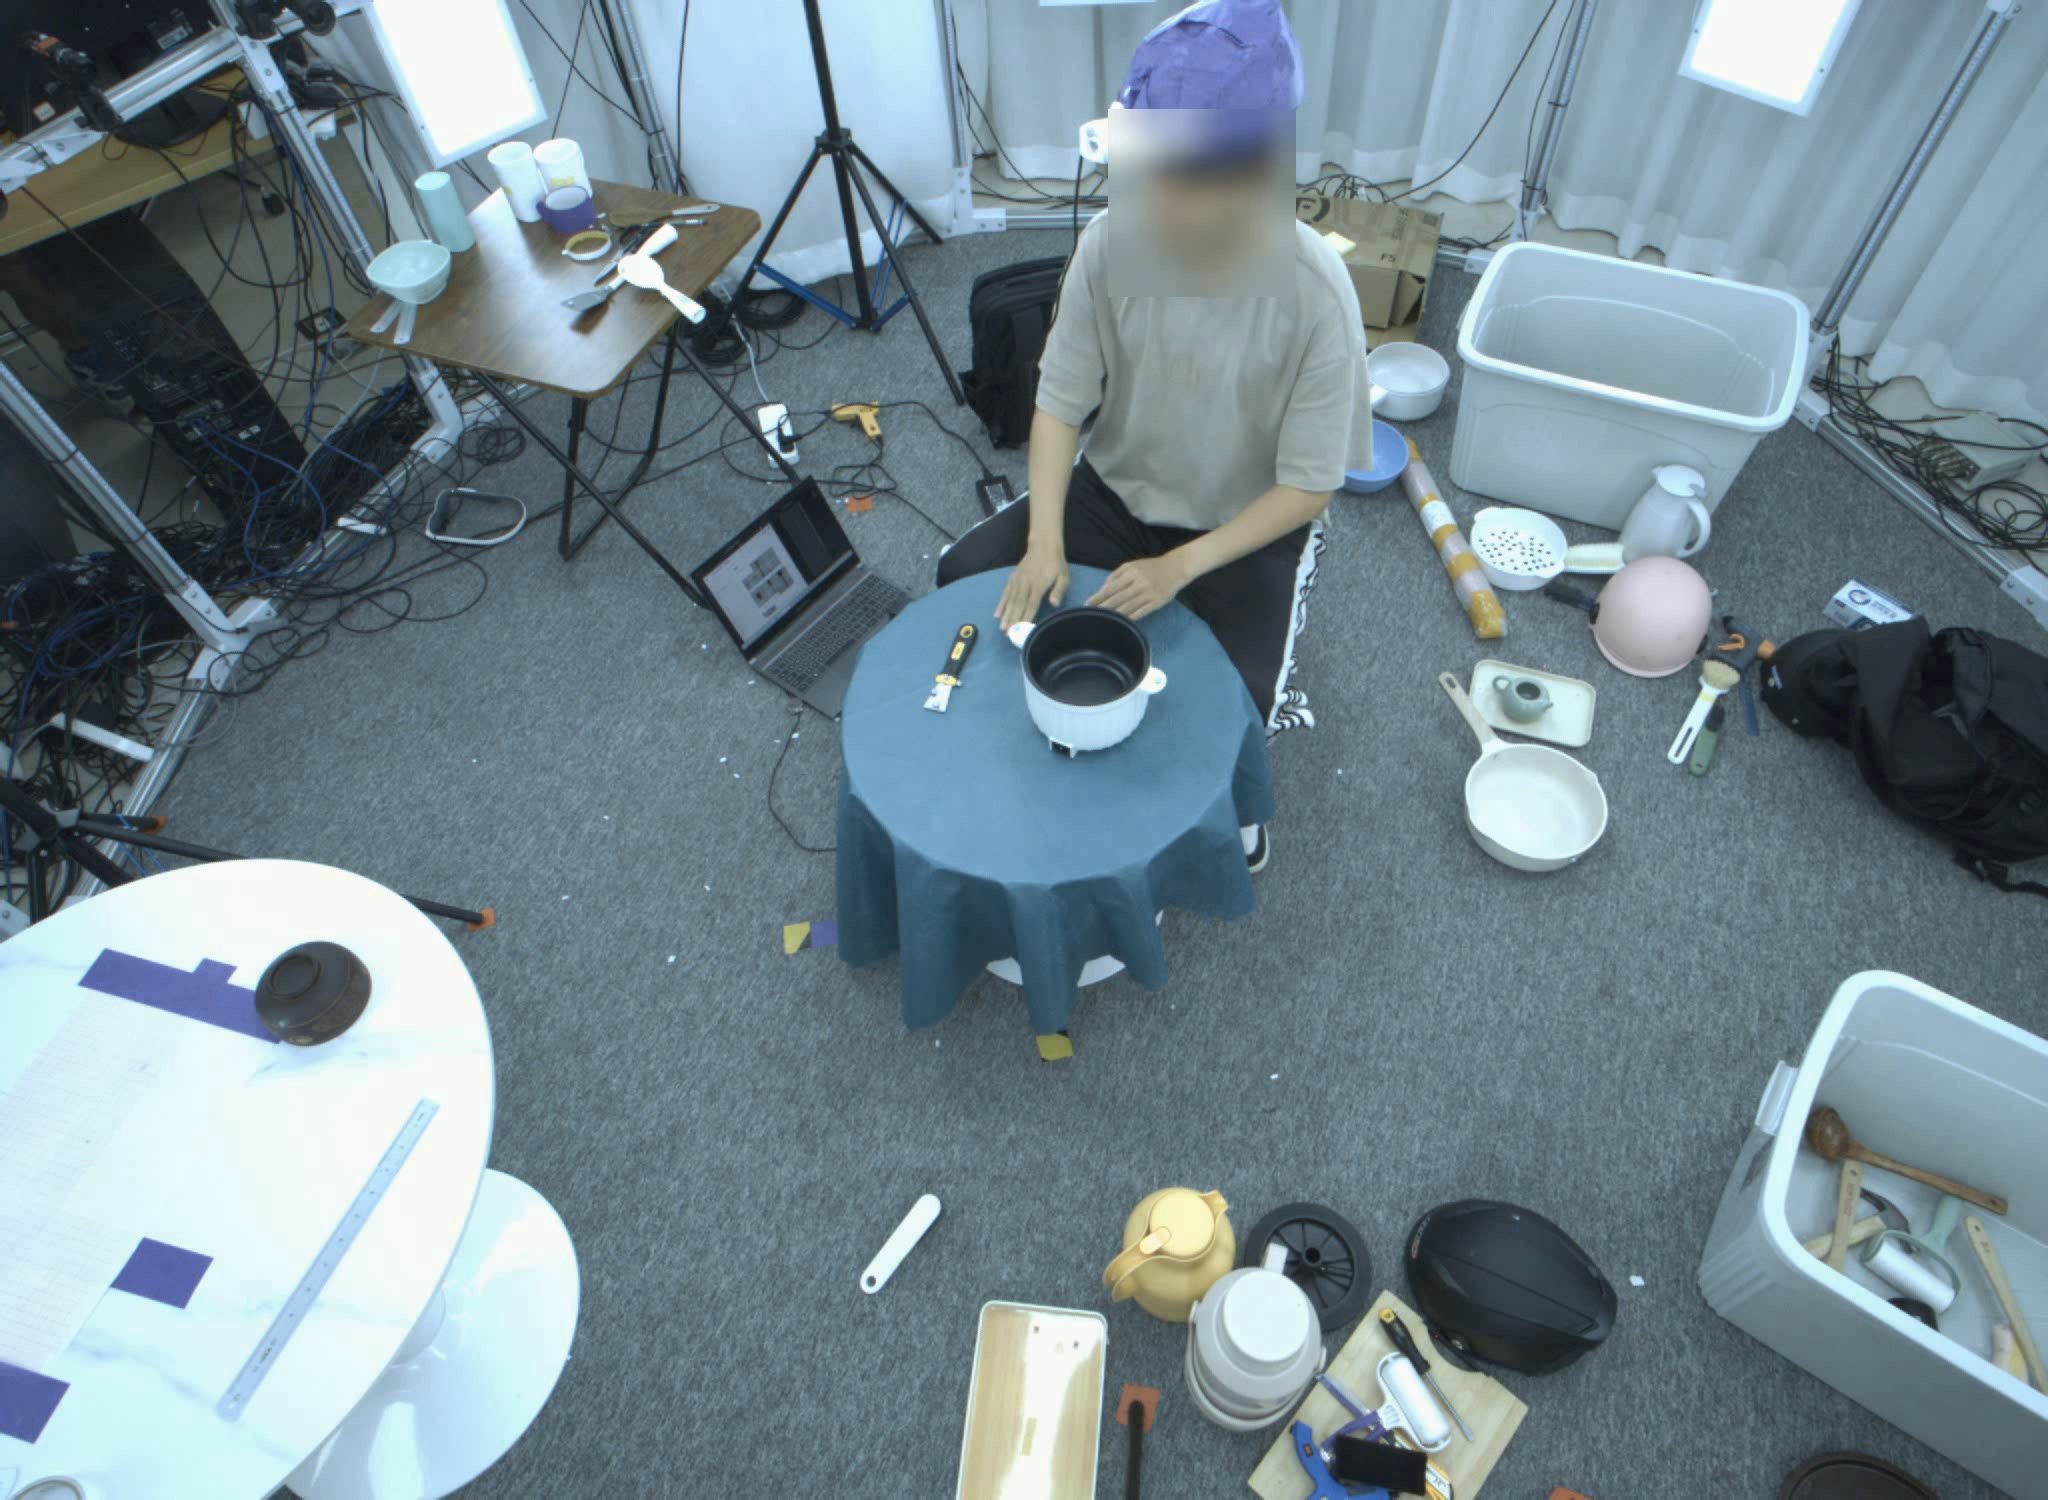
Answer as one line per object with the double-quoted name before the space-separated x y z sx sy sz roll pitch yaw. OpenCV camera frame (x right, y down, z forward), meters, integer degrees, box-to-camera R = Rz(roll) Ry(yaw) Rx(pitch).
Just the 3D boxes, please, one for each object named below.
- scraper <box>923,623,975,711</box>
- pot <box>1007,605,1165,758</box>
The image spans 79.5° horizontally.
"scraper" -0.111 -0.128 1.870 0.038 0.015 0.170 10 58 15
"pot" 0.091 -0.100 1.767 0.237 0.144 0.190 22 62 16
